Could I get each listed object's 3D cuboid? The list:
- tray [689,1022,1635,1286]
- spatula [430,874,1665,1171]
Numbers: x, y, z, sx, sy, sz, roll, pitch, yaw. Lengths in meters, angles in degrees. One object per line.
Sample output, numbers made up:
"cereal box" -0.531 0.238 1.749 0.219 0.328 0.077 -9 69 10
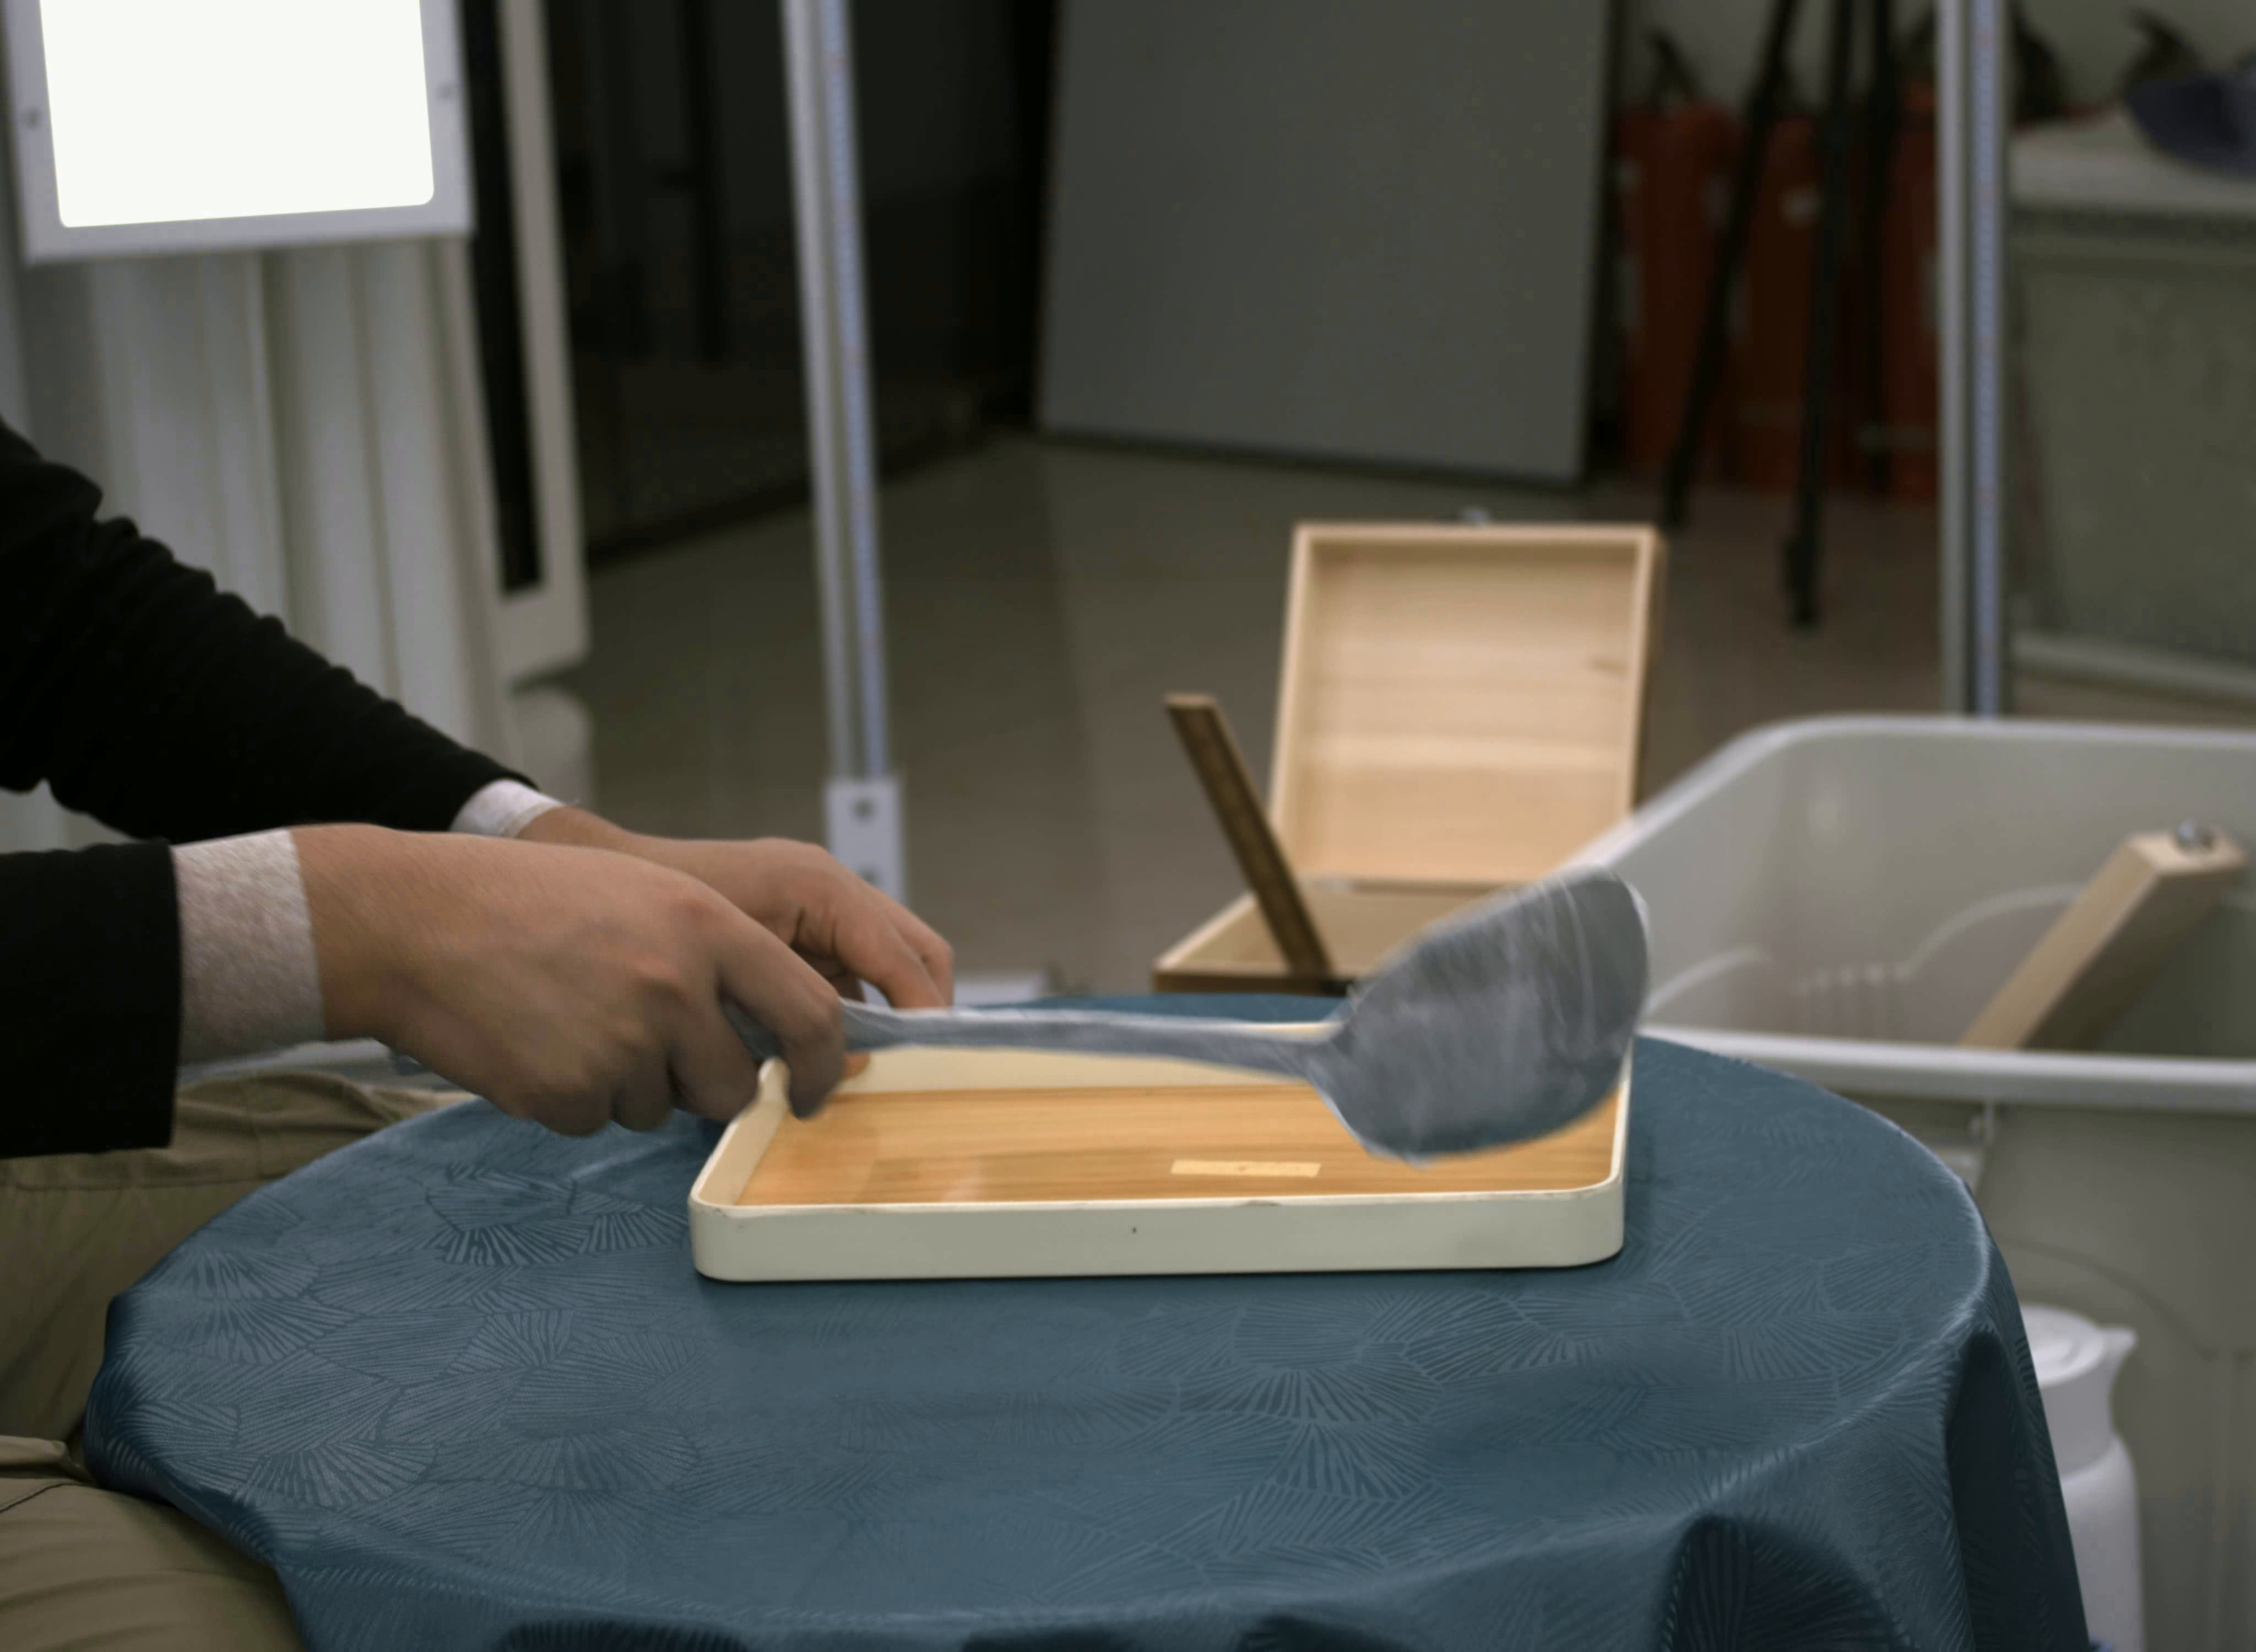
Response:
"tray" 0.016 0.106 1.770 0.298 0.028 0.191 -2 14 9
"spatula" -0.022 0.060 1.571 0.360 0.099 0.045 1 37 1
